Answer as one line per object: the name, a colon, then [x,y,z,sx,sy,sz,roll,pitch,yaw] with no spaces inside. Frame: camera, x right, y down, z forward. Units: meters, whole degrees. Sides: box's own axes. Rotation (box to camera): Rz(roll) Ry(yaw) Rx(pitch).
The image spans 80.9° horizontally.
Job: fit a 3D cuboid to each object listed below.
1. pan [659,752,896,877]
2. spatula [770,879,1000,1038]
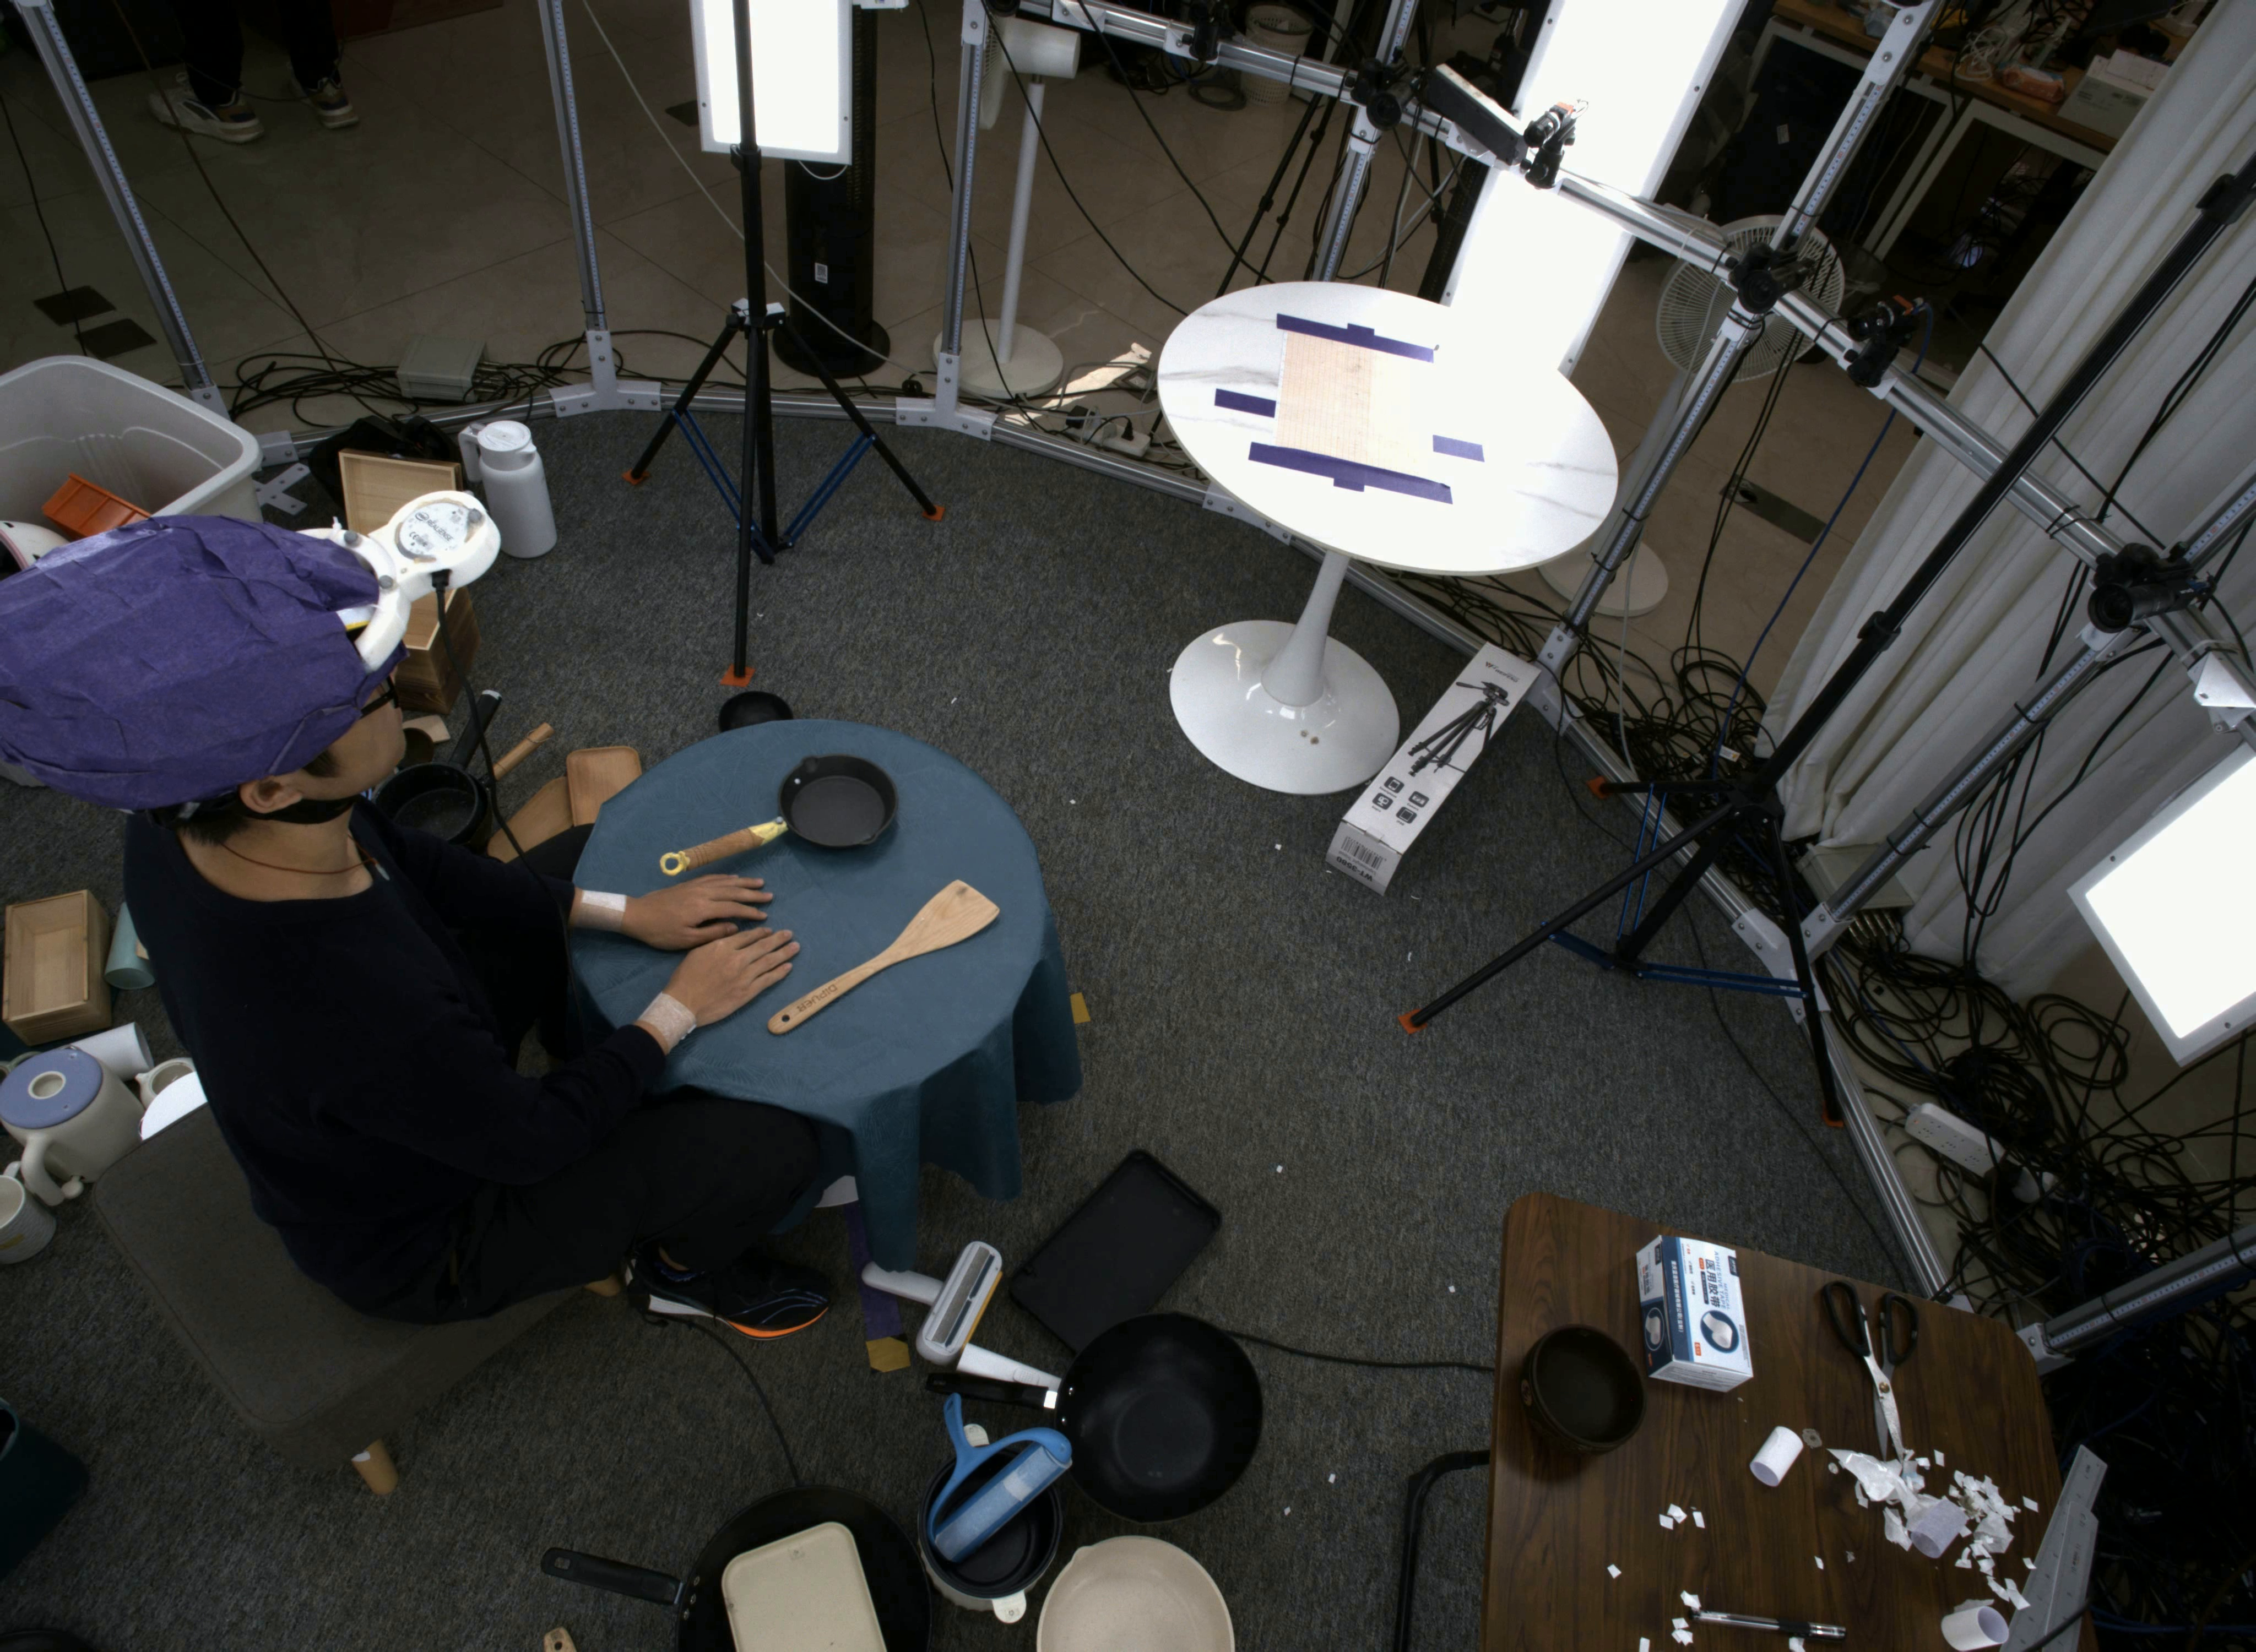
pan: [-0.453,-0.002,1.675,0.326,0.050,0.165,-25,63,-31]
spatula: [-0.305,0.163,1.613,0.328,0.017,0.078,-33,67,-33]
